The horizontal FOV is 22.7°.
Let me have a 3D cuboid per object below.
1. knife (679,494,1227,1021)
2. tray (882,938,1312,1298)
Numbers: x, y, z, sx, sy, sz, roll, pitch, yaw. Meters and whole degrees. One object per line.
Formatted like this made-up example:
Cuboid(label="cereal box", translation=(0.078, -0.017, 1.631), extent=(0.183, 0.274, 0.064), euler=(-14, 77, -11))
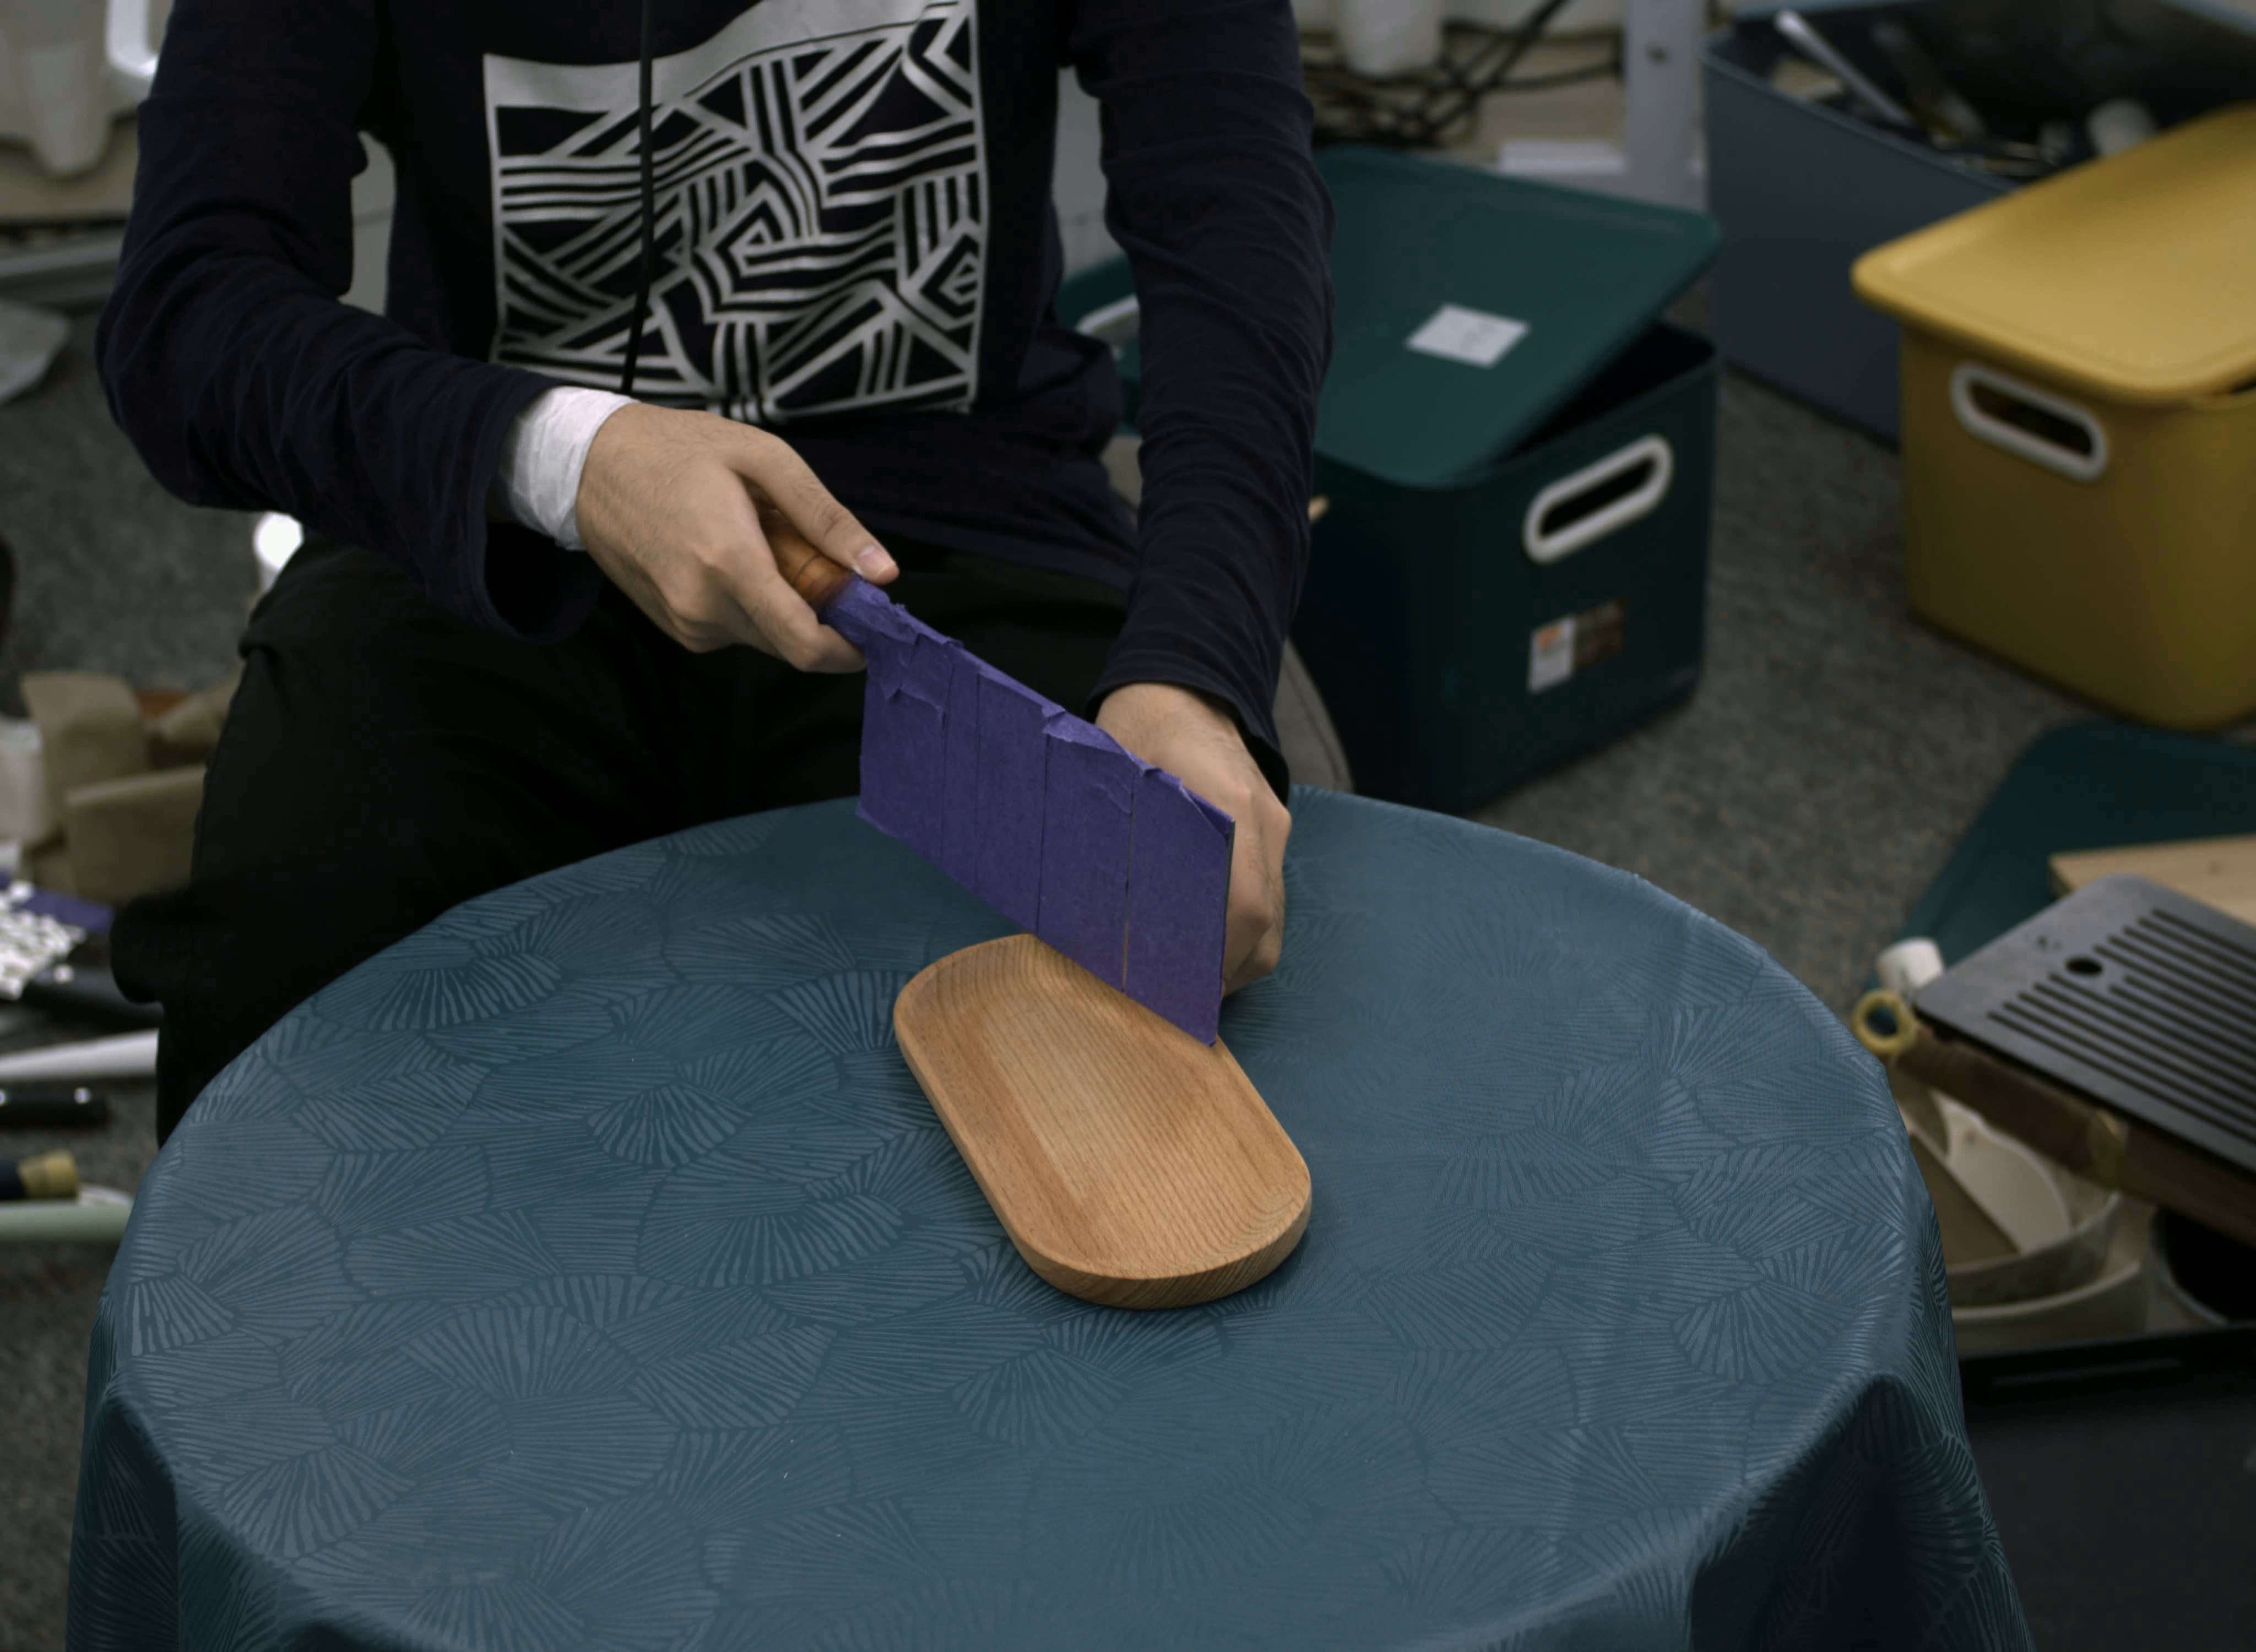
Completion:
Cuboid(label="knife", translation=(-0.066, -0.024, 1.988), extent=(0.032, 0.103, 0.316), euler=(-12, 29, -34))
Cuboid(label="tray", translation=(-0.012, 0.095, 1.893), extent=(0.102, 0.020, 0.233), euler=(-12, 28, -16))
